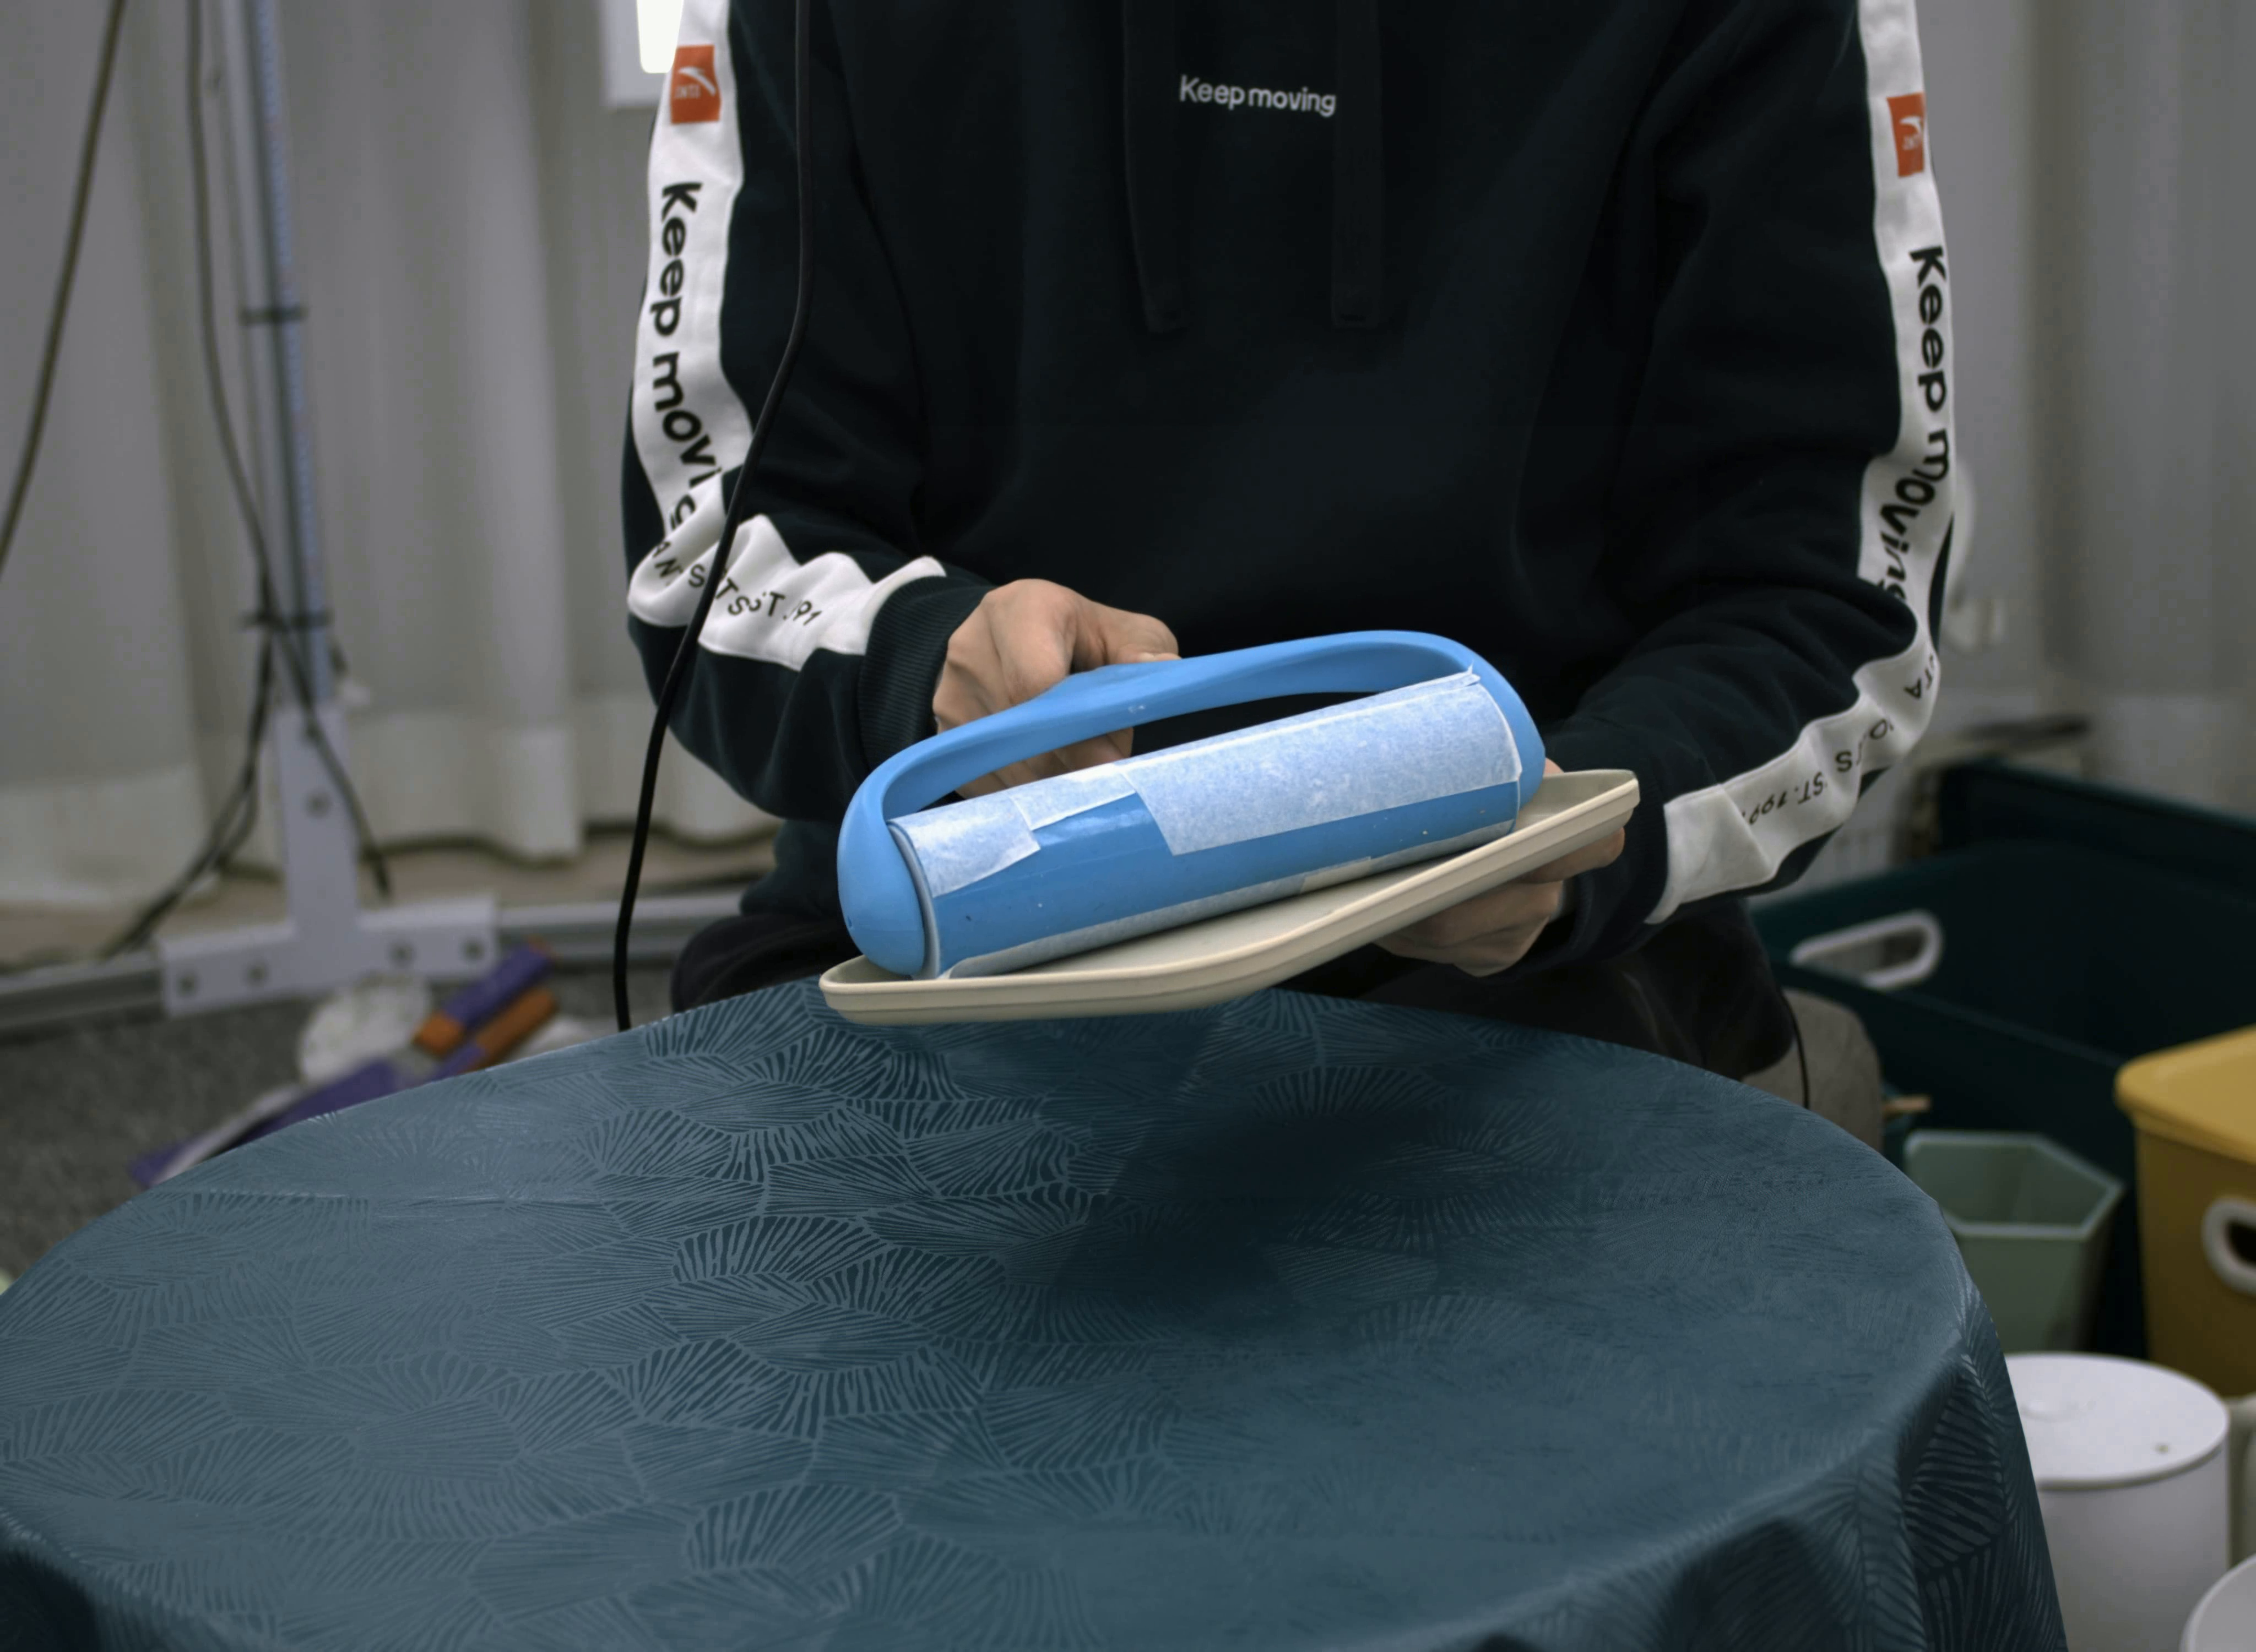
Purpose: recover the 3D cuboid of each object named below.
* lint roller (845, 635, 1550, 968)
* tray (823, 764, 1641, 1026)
[{"bbox_3d":[-0.001,-0.017,1.717,0.228,0.067,0.182,-17,22,-20],"label":"lint roller"},{"bbox_3d":[0.035,0.021,1.658,0.171,0.017,0.239,-5,11,41],"label":"tray"}]
